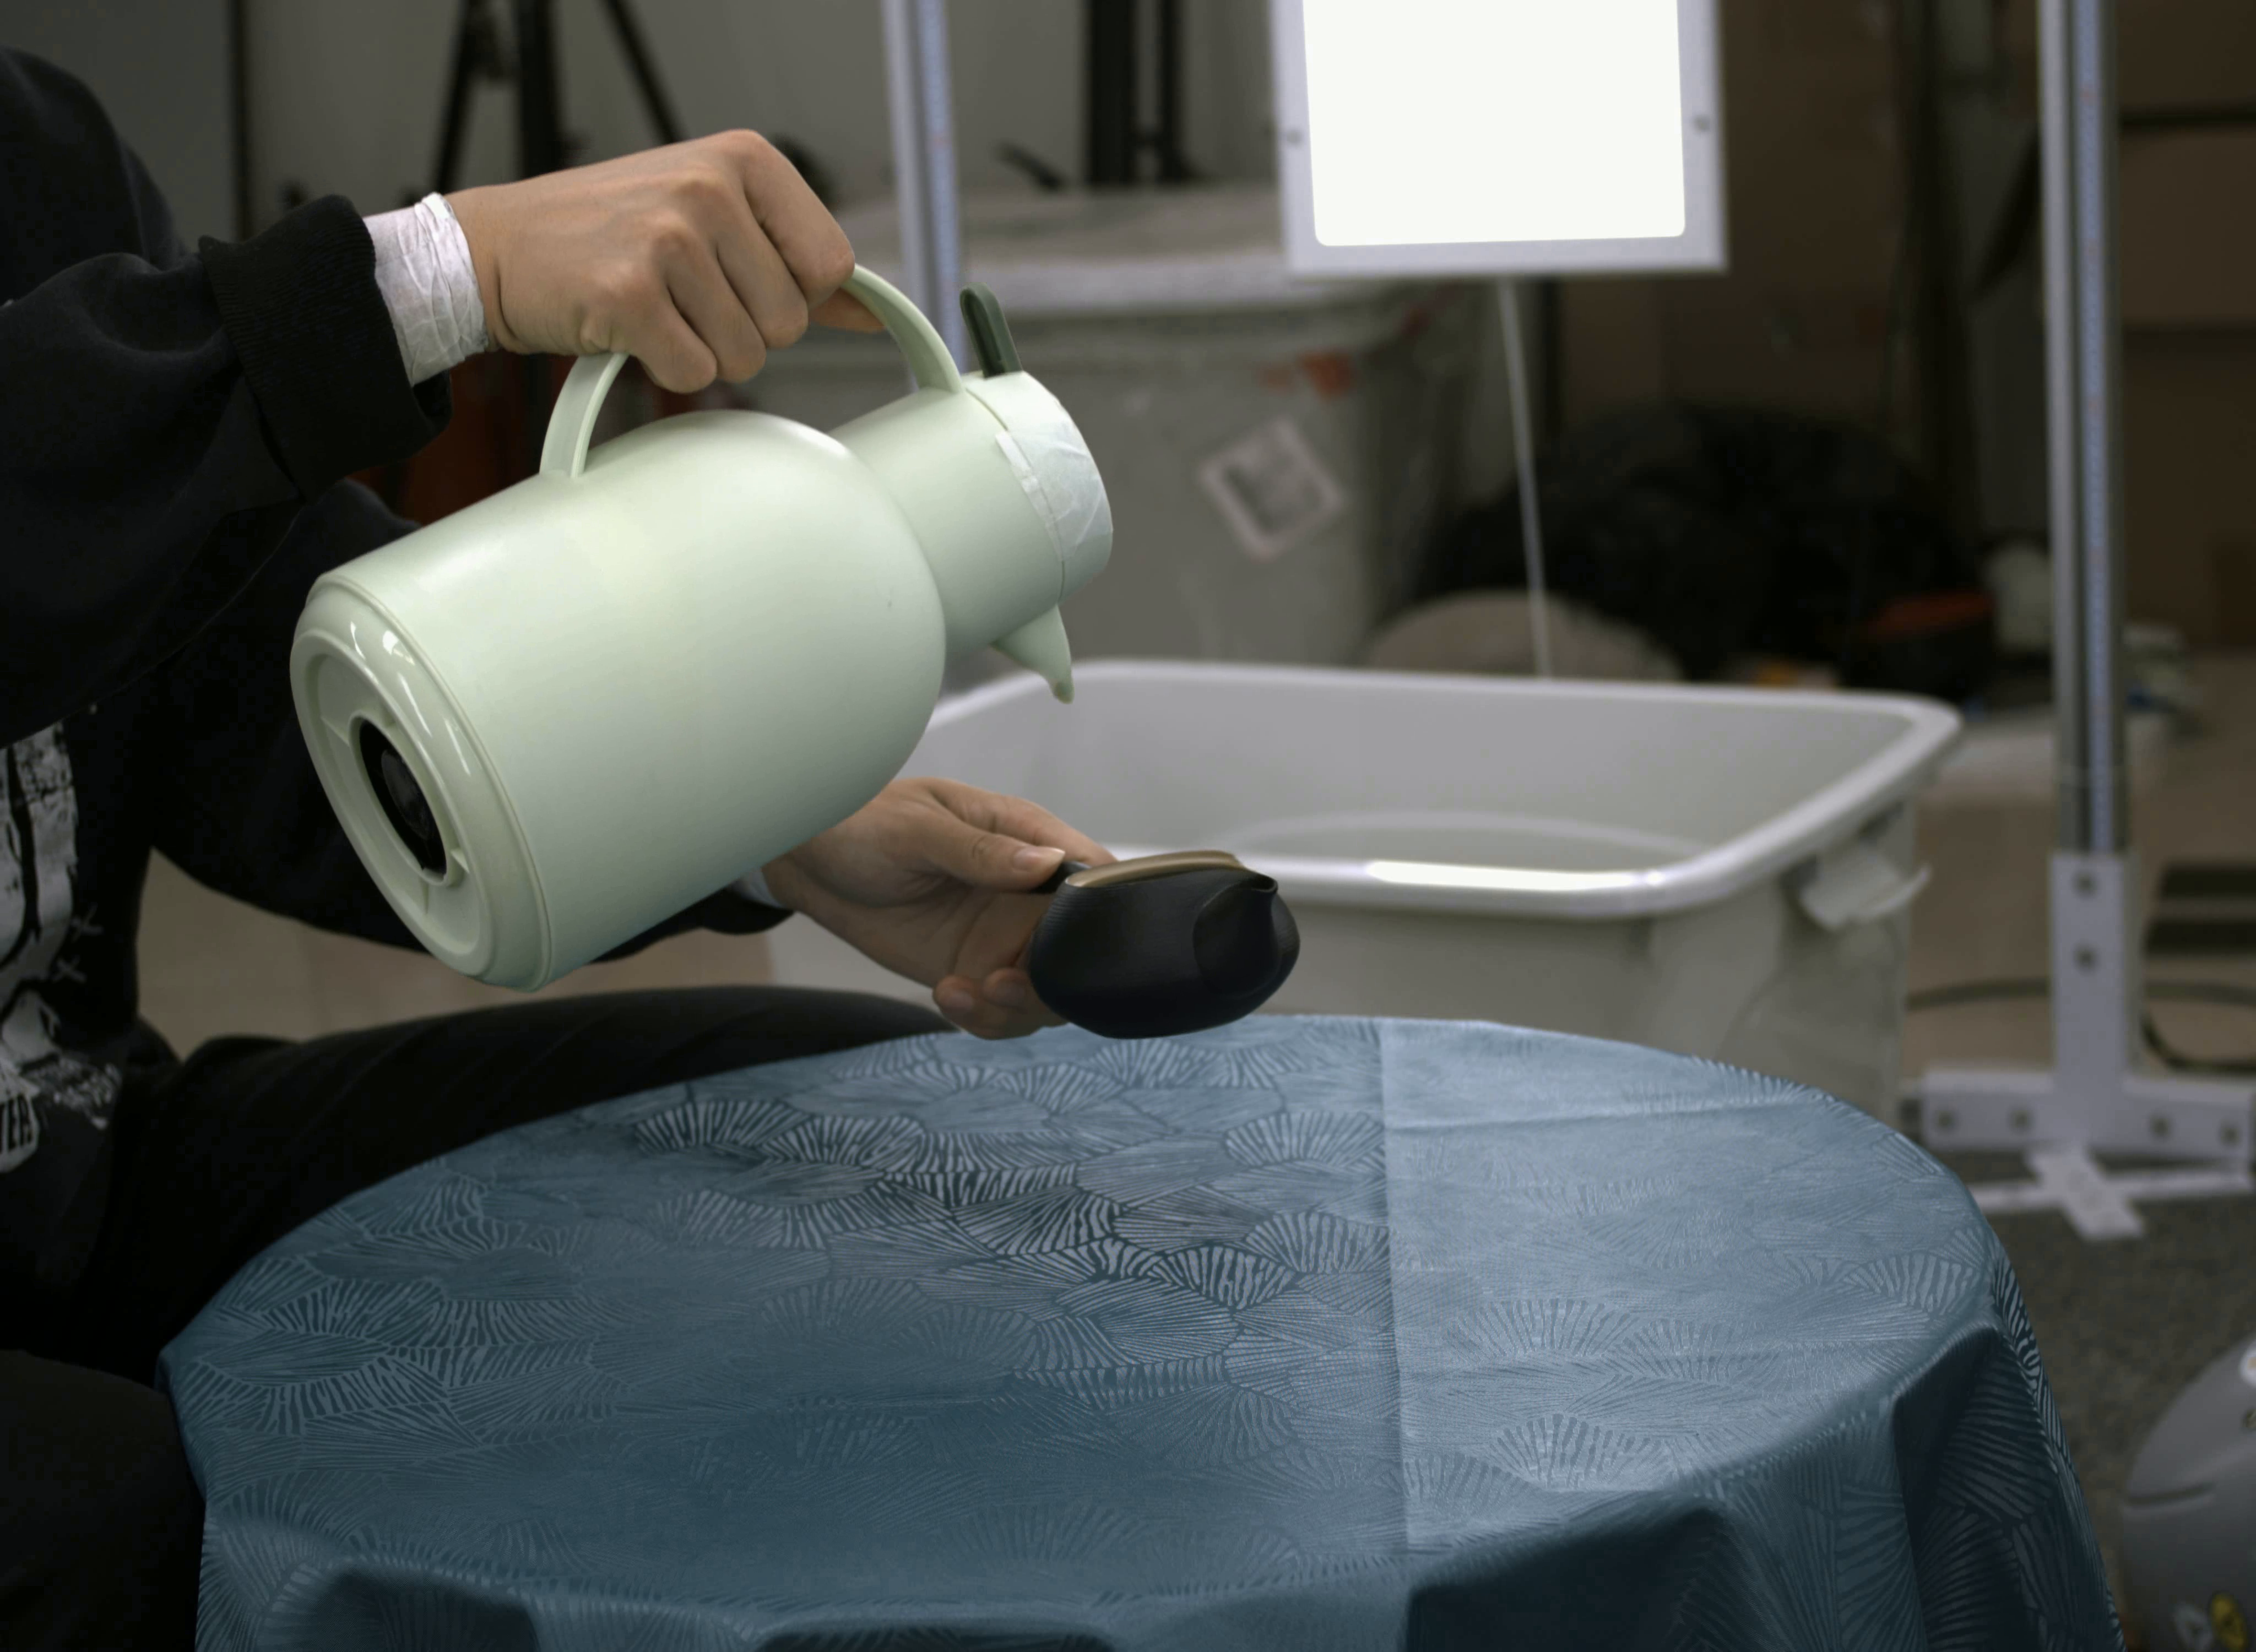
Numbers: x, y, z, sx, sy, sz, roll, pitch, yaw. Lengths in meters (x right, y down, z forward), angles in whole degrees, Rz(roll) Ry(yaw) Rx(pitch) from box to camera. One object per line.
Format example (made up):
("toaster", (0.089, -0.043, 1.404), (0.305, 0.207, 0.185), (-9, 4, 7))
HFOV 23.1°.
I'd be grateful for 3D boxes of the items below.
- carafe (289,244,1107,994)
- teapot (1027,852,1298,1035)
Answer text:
("carafe", (-0.133, -0.076, 1.746), (0.253, 0.186, 0.147), (-32, 19, -19))
("teapot", (0.011, 0.039, 1.828), (0.089, 0.053, 0.136), (-12, 10, -33))
